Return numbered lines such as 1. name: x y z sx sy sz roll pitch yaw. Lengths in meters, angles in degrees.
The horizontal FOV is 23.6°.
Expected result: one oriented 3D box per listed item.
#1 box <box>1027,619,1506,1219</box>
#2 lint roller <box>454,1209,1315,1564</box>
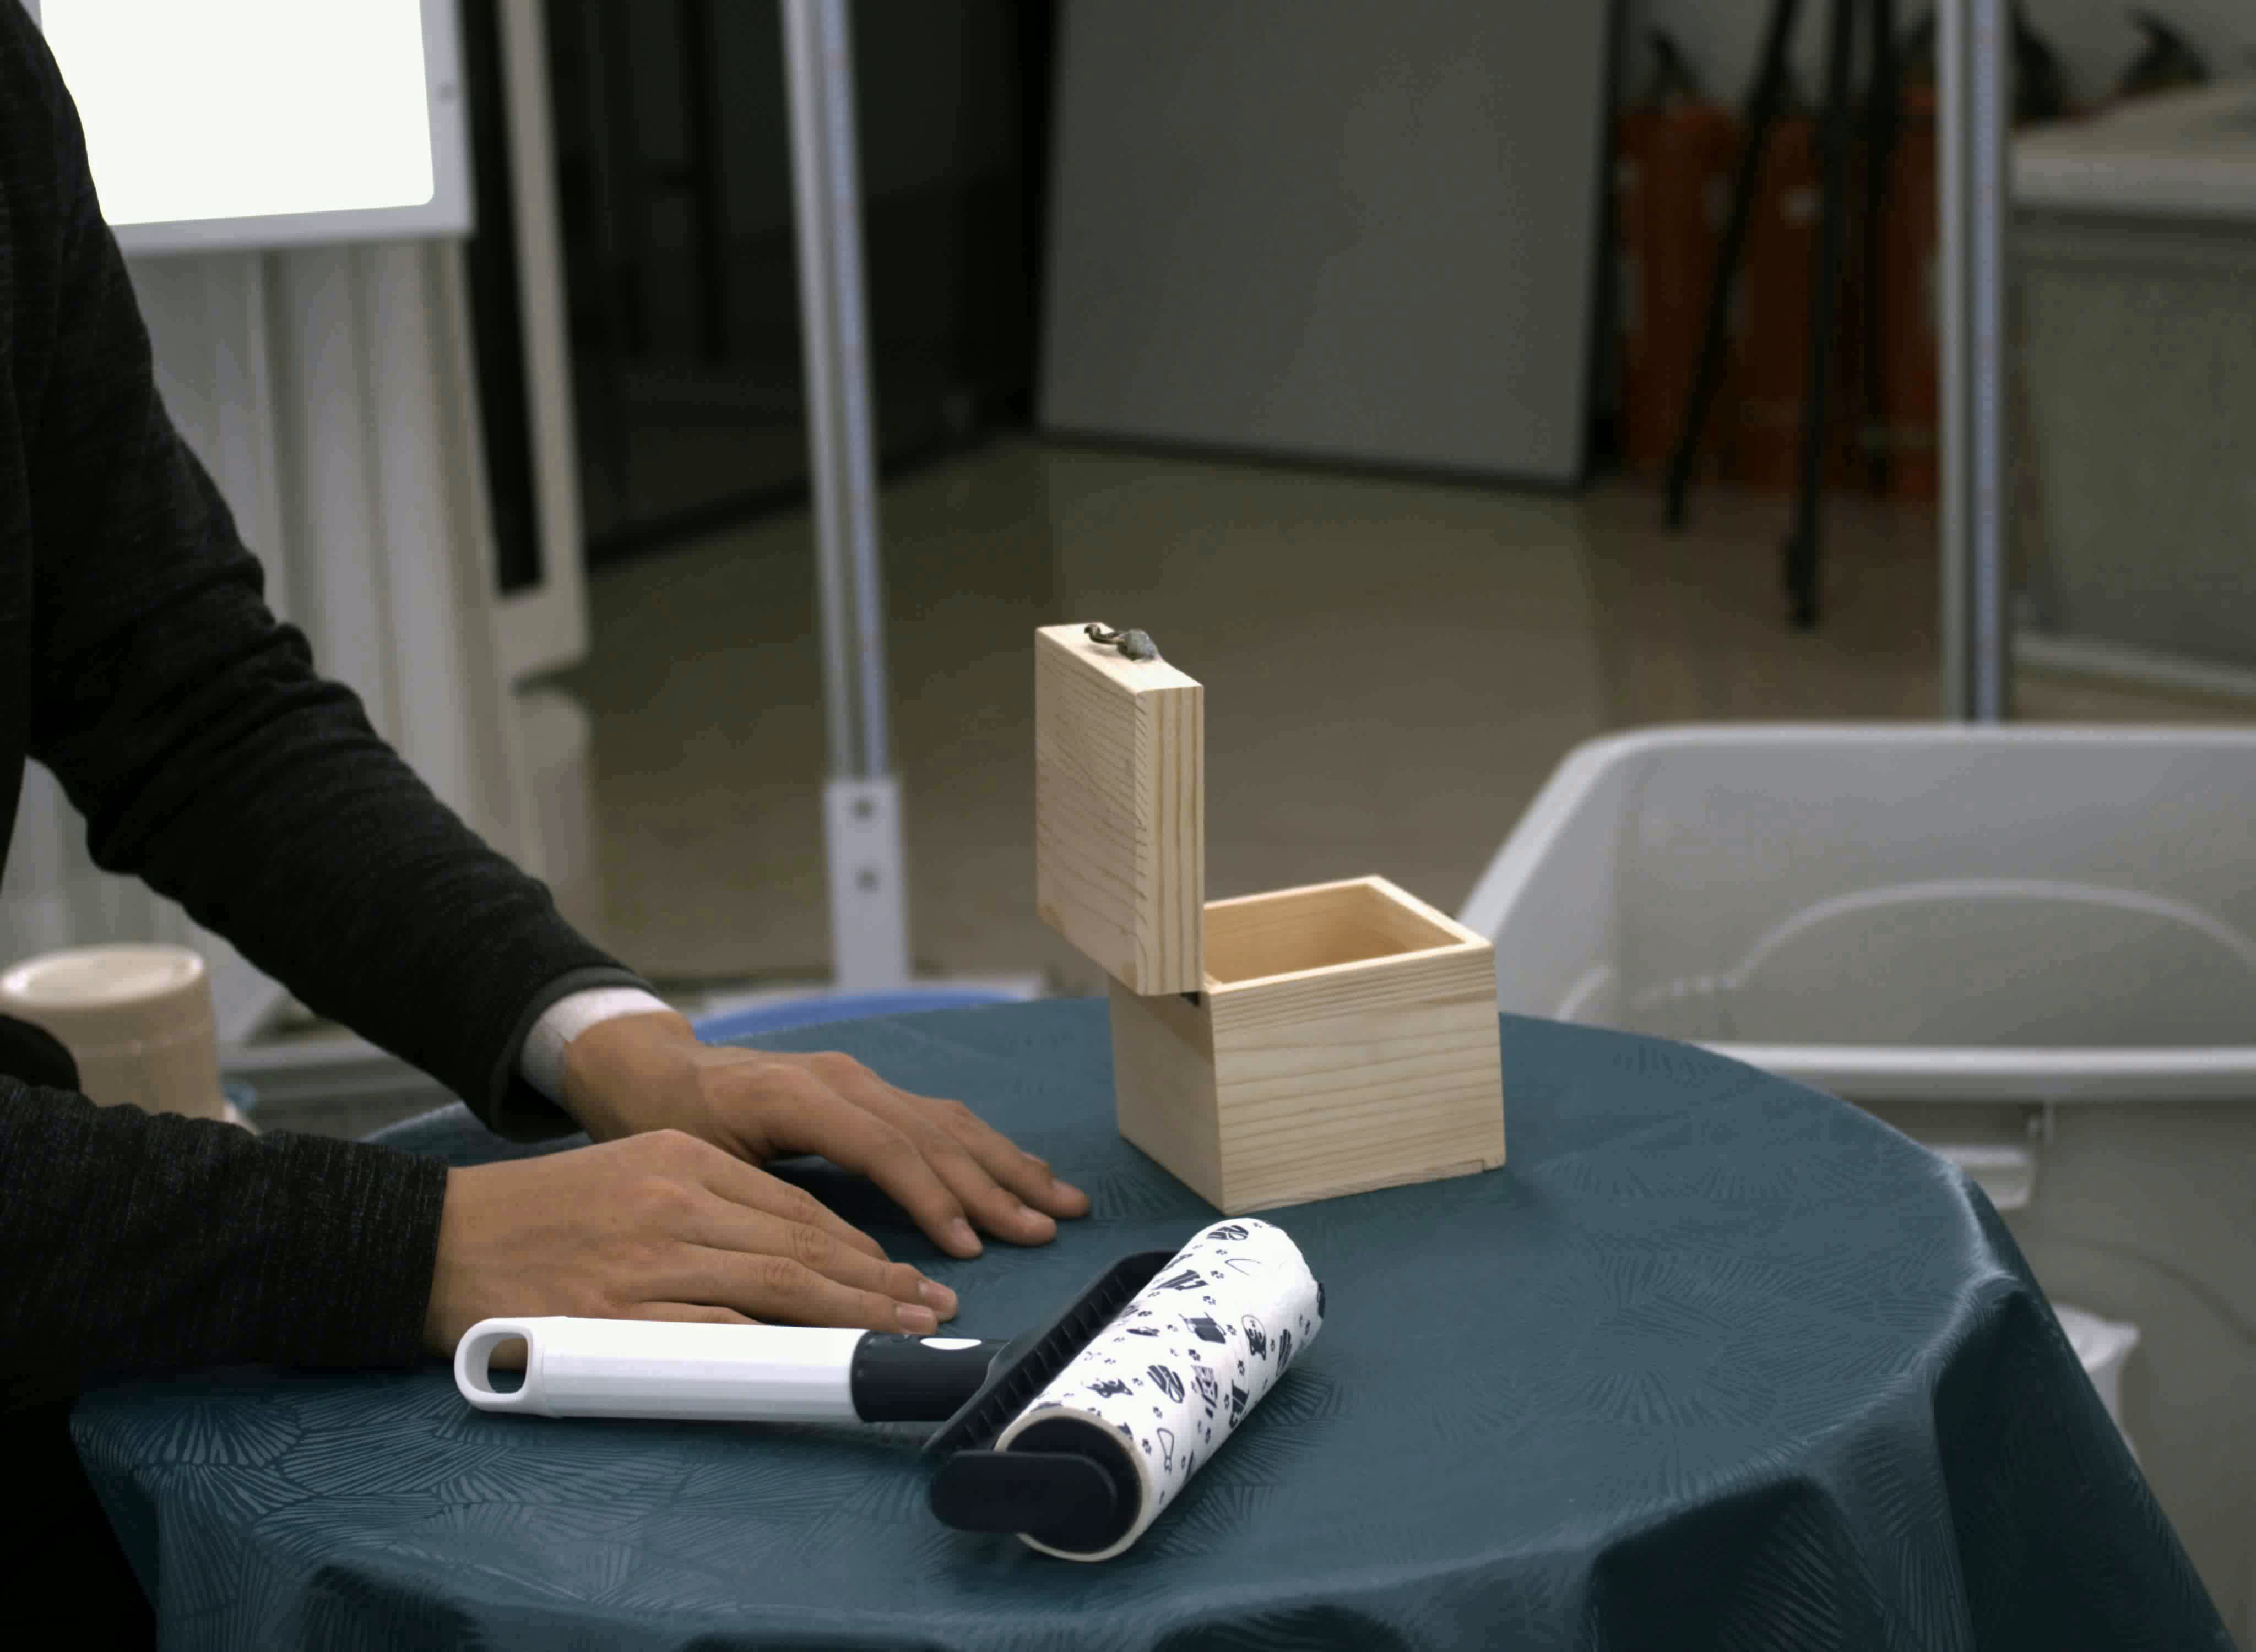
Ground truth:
1. box: 0.046 0.022 1.774 0.131 0.186 0.103 -9 13 -18
2. lint roller: -0.084 0.157 1.558 0.247 0.051 0.174 0 15 21
